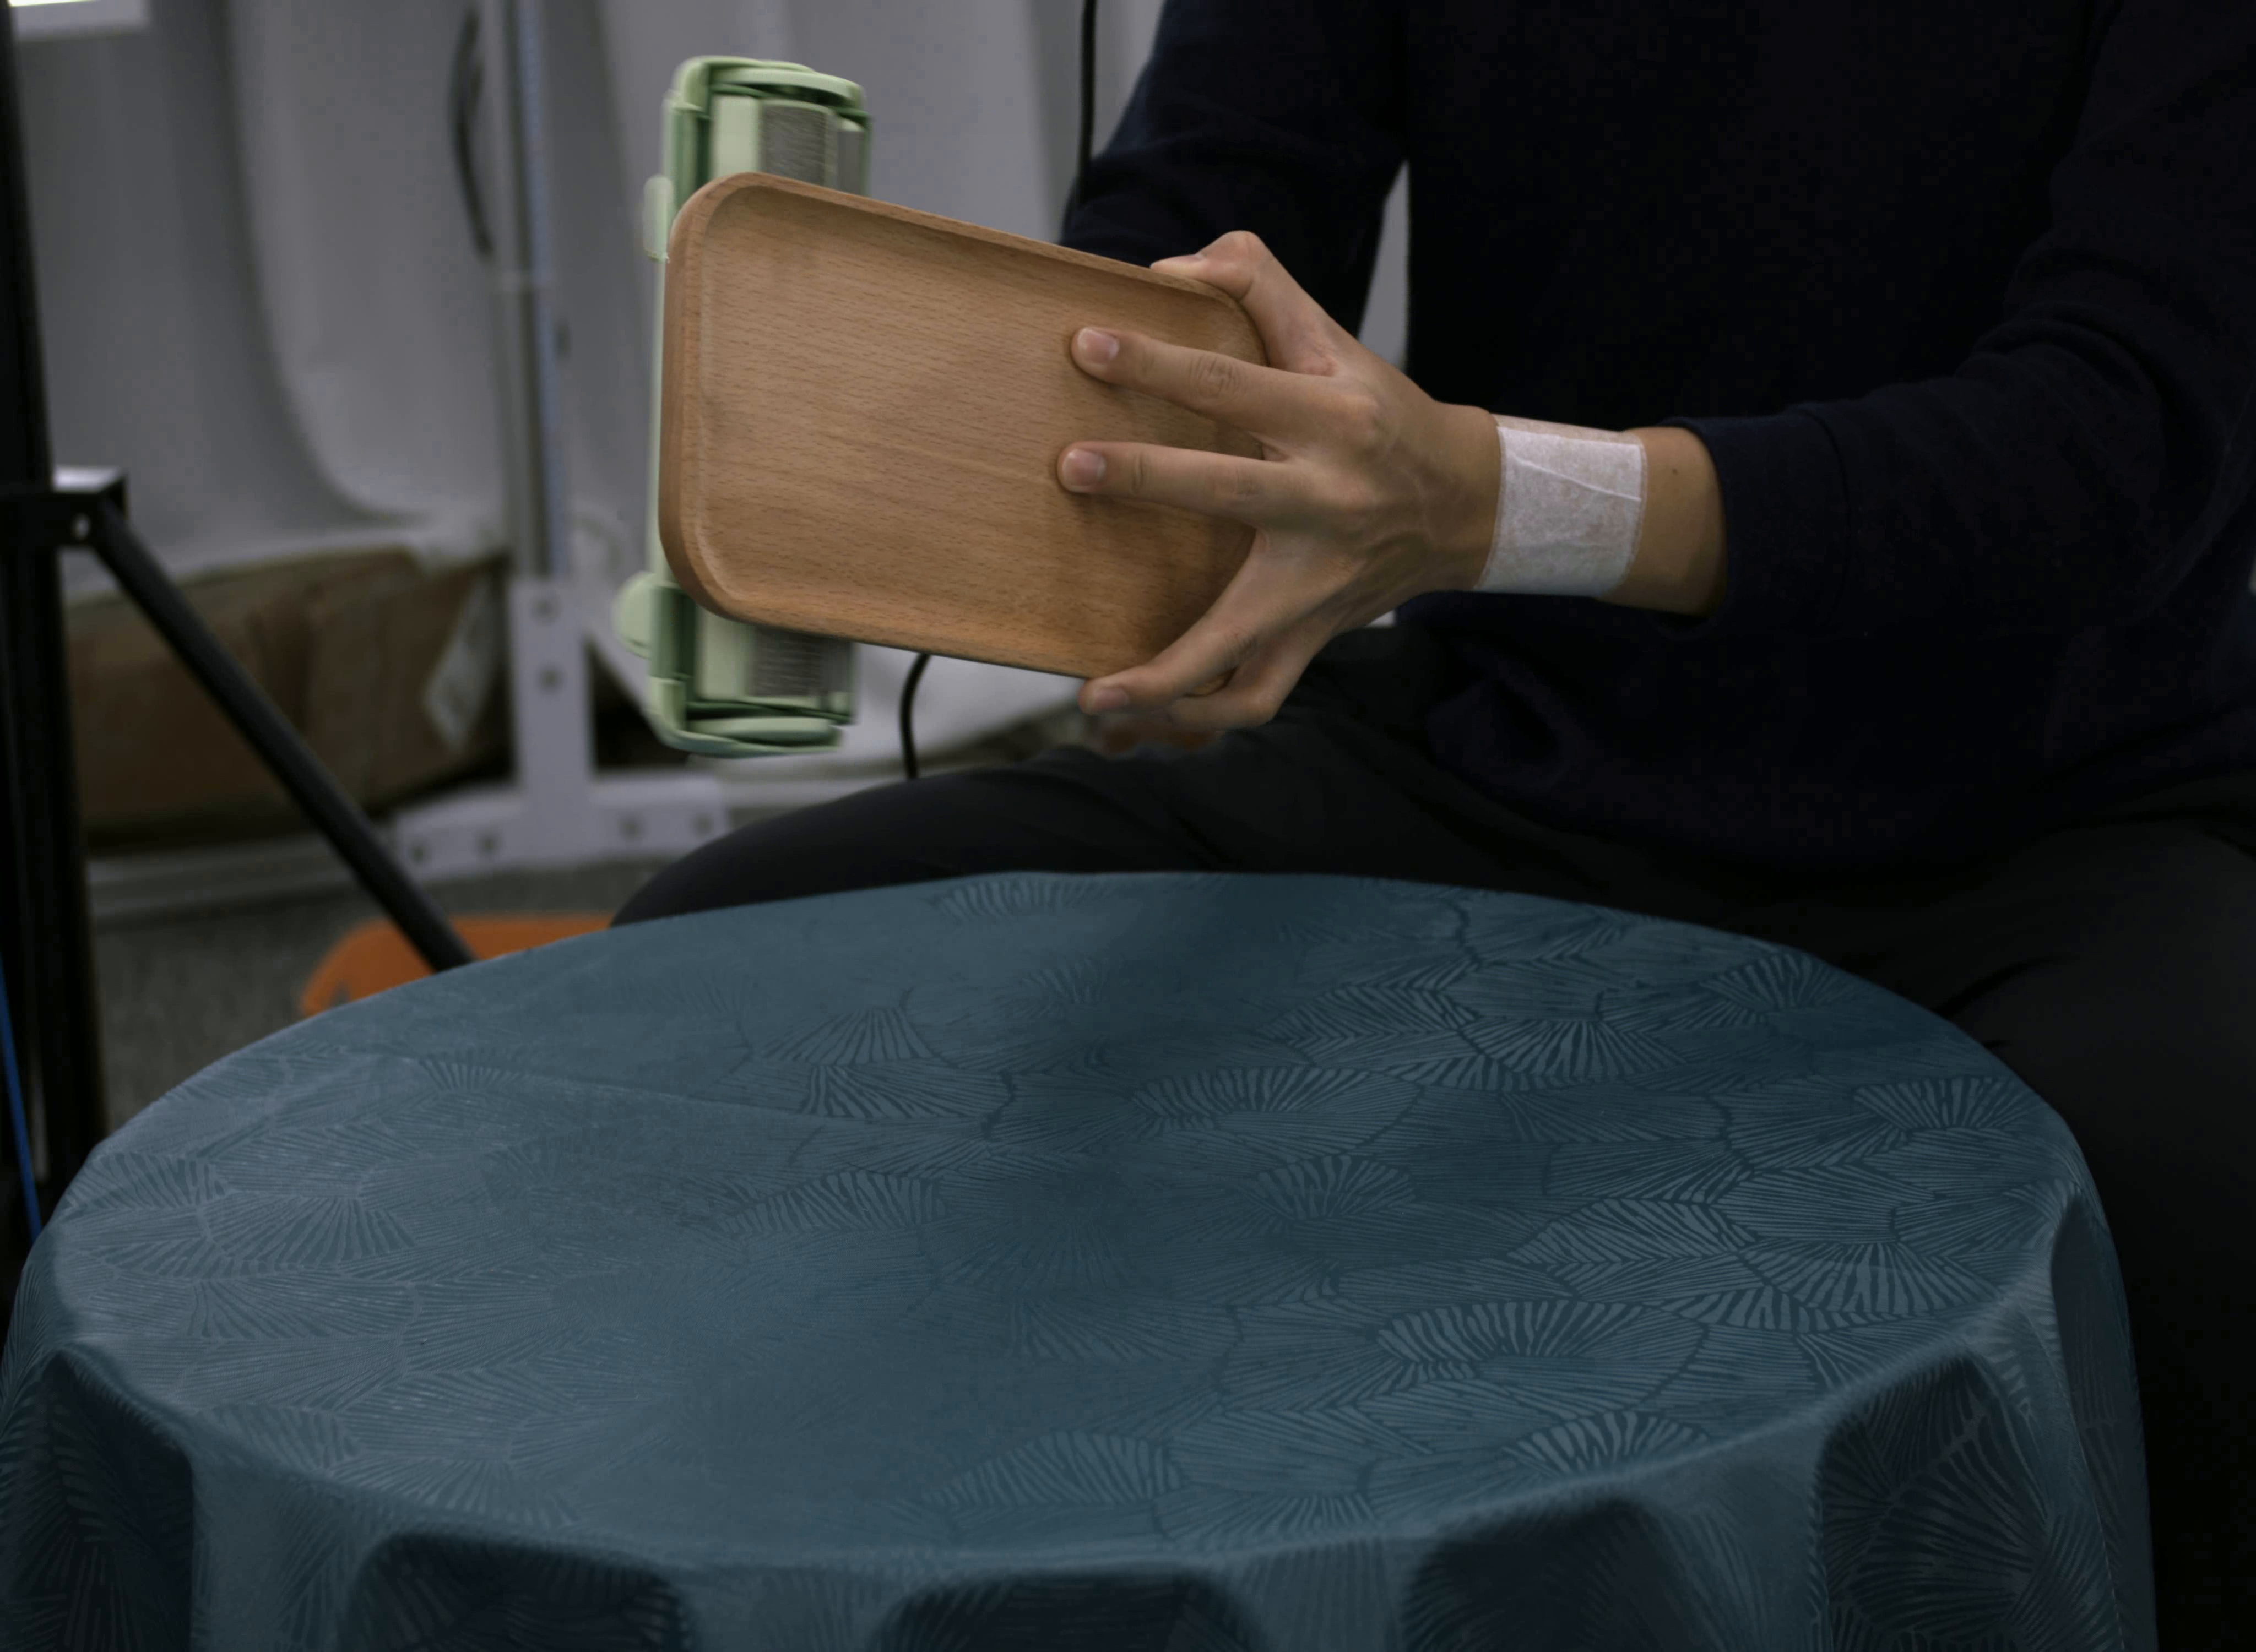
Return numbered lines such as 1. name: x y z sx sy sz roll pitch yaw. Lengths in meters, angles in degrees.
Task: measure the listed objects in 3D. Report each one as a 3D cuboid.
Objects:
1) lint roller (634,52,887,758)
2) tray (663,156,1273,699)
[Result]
1. lint roller: -0.091 -0.113 1.583 0.083 0.200 0.180 0 -7 18
2. tray: -0.043 -0.111 1.543 0.023 0.131 0.244 -2 -7 42
